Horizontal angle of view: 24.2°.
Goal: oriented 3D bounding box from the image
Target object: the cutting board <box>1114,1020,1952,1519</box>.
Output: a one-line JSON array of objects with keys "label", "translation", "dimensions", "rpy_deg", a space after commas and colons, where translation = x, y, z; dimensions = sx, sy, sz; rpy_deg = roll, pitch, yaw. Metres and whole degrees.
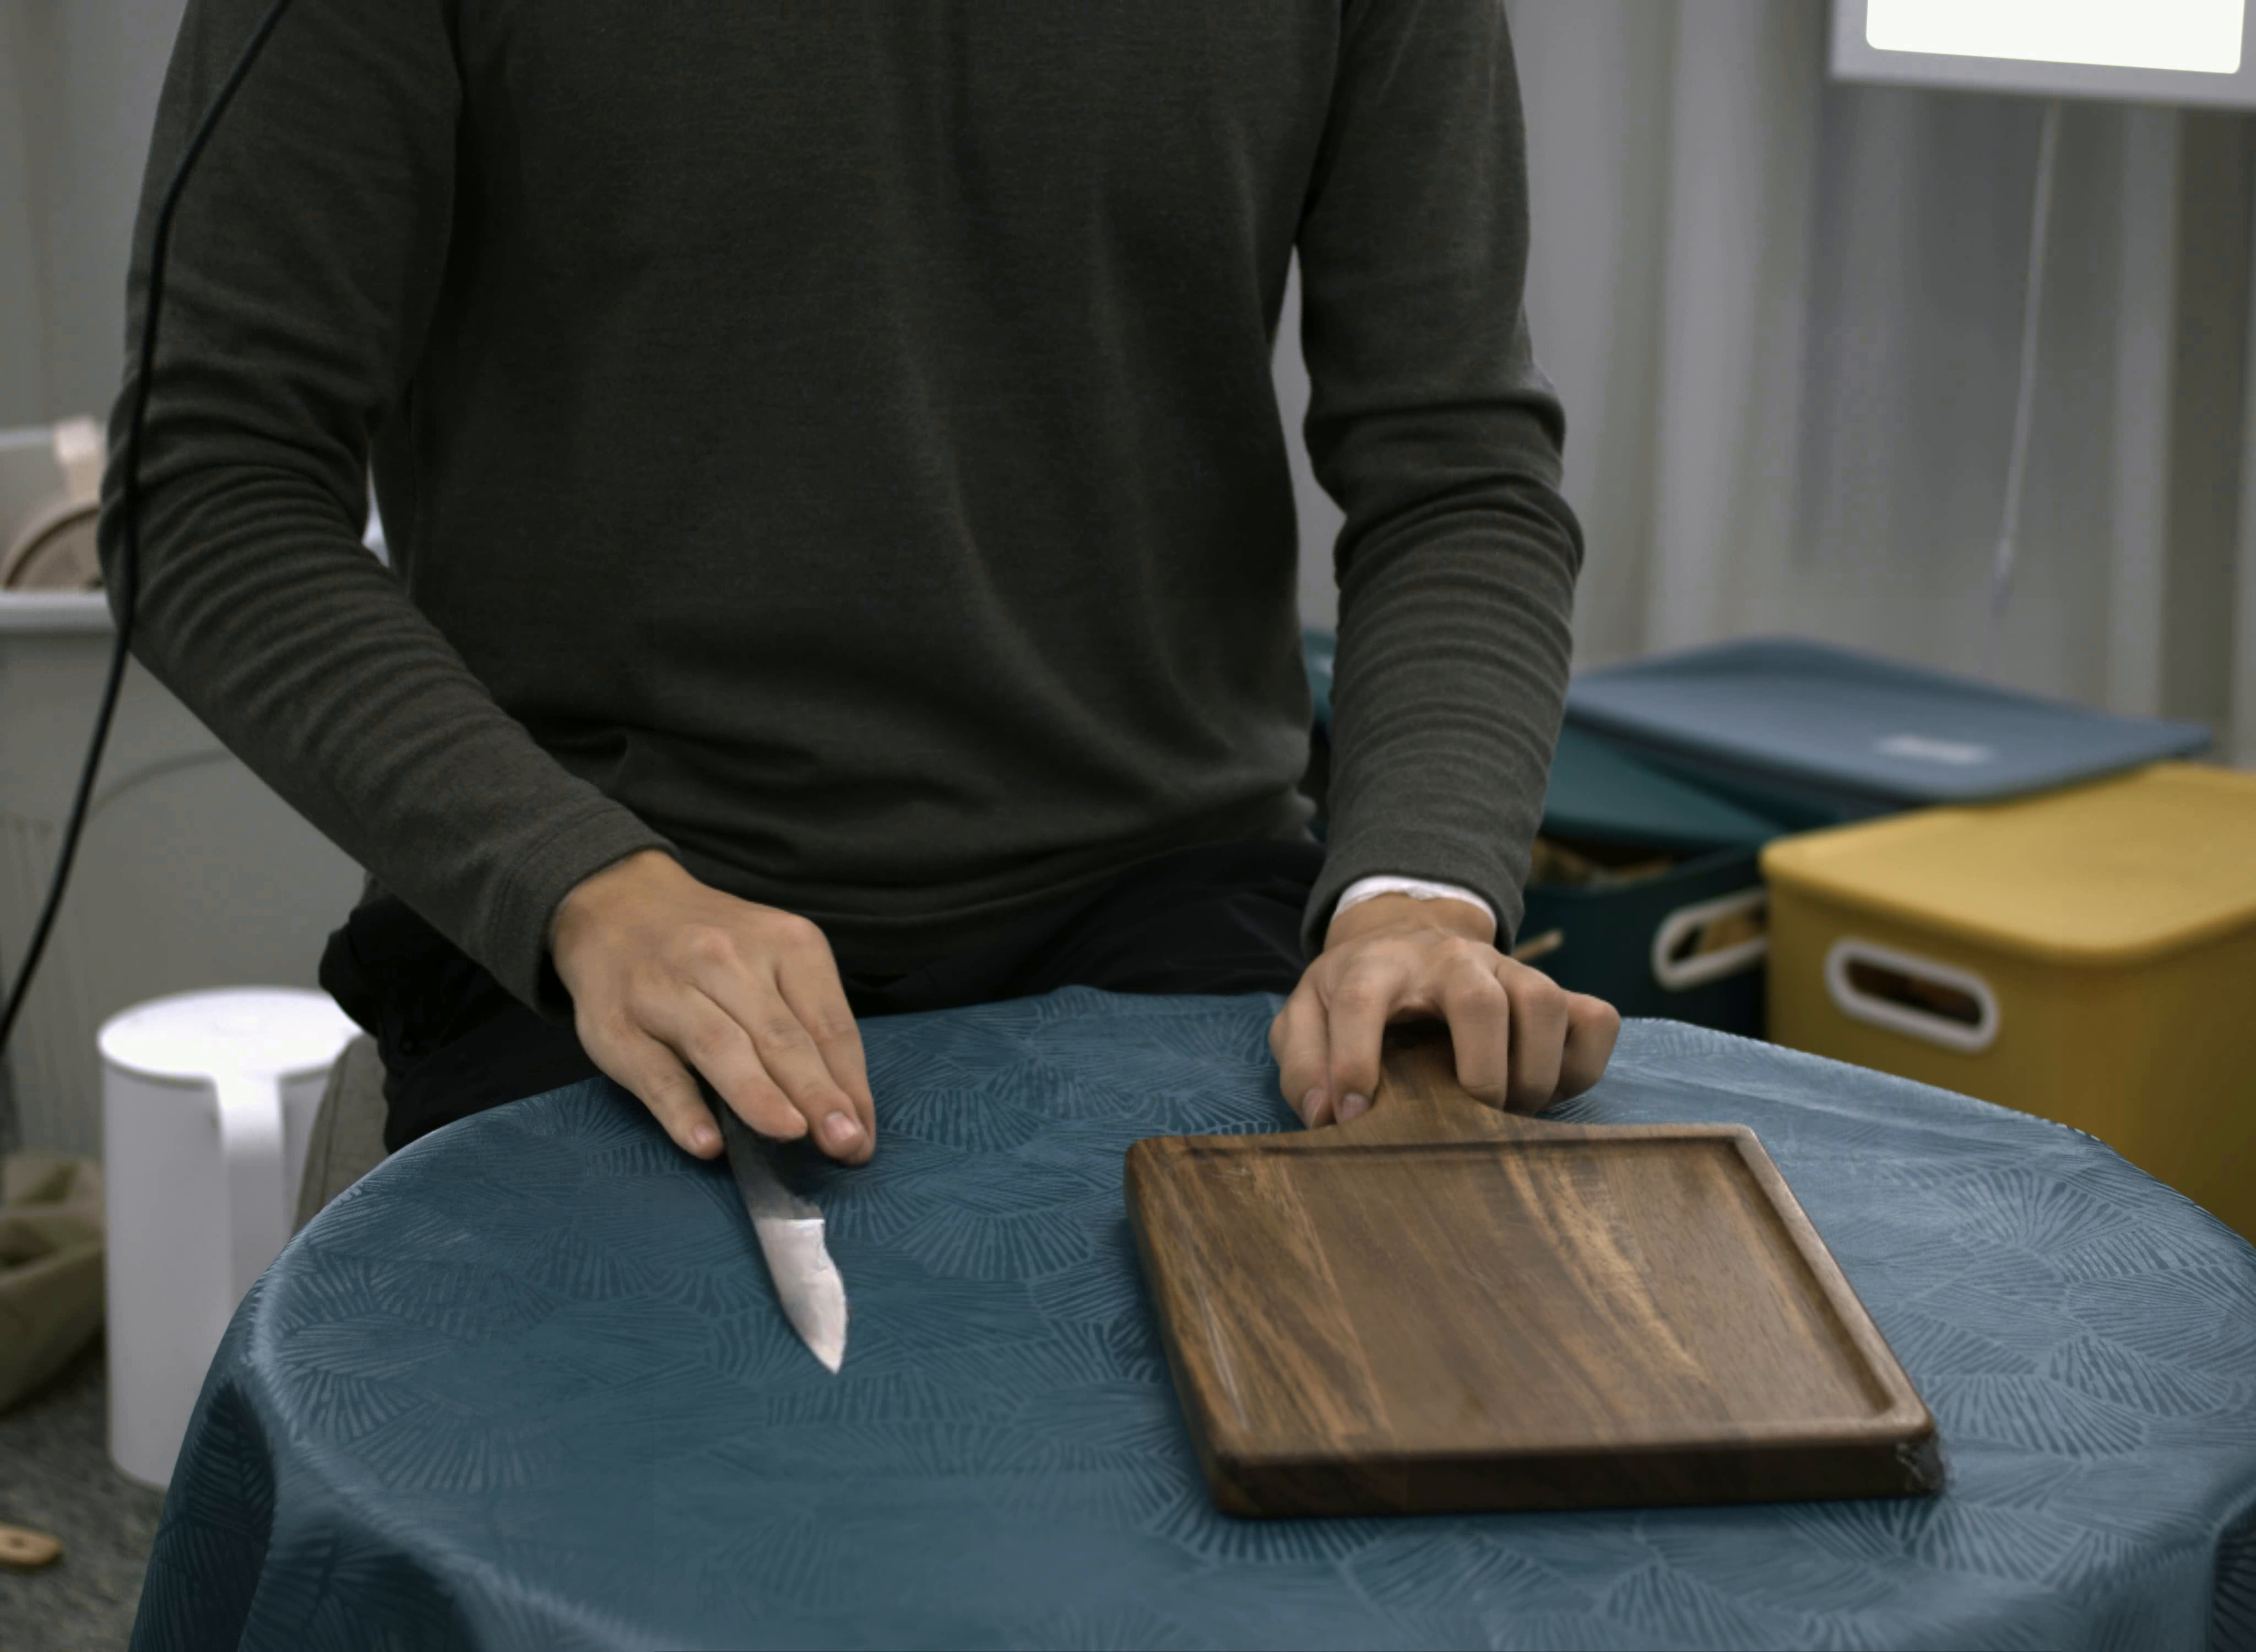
[{"label": "cutting board", "translation": [0.102, 0.121, 1.544], "dimensions": [0.201, 0.023, 0.349], "rpy_deg": [-1, 16, -6]}]

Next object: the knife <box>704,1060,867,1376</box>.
[{"label": "knife", "translation": [-0.104, 0.117, 1.583], "dimensions": [0.024, 0.016, 0.236], "rpy_deg": [-3, 19, -12]}]
